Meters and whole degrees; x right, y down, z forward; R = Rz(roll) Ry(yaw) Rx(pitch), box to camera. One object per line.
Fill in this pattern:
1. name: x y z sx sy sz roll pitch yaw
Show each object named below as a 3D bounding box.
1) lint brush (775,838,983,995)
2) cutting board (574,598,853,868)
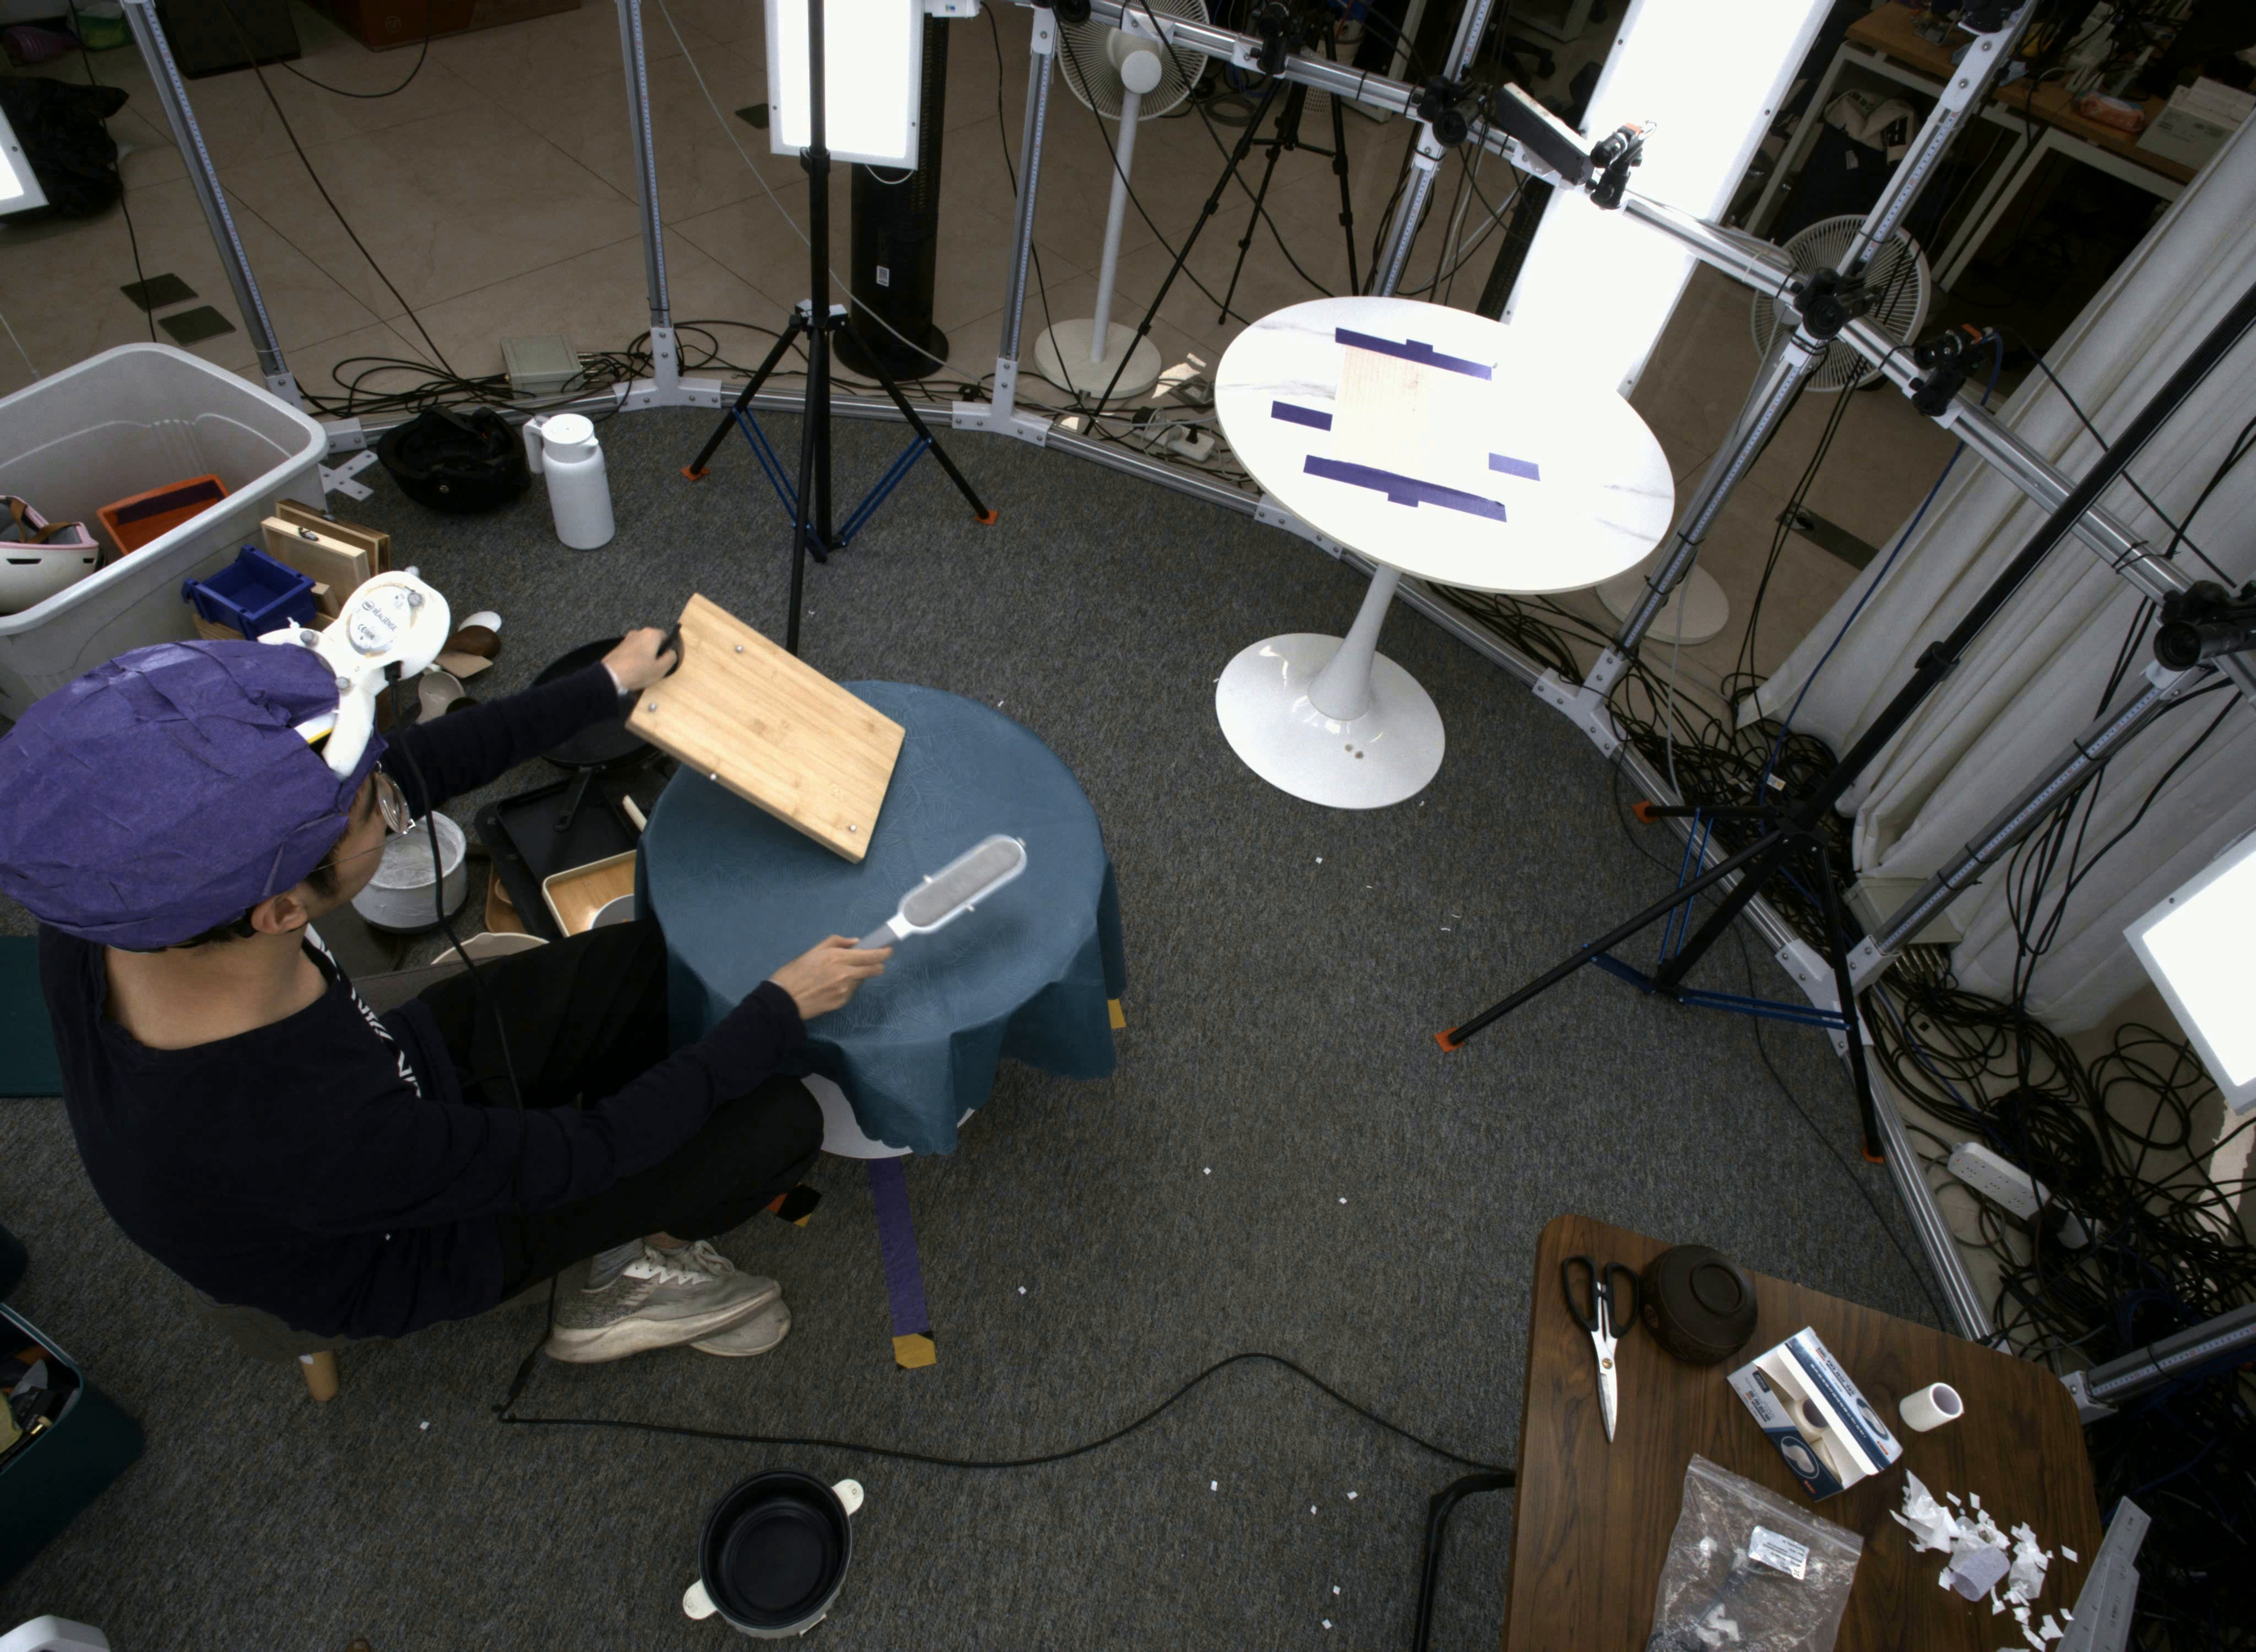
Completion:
1. lint brush: -0.302 0.107 1.588 0.309 0.021 0.059 -37 74 -27
2. cutting board: -0.530 -0.121 1.669 0.358 0.023 0.246 32 44 -31
